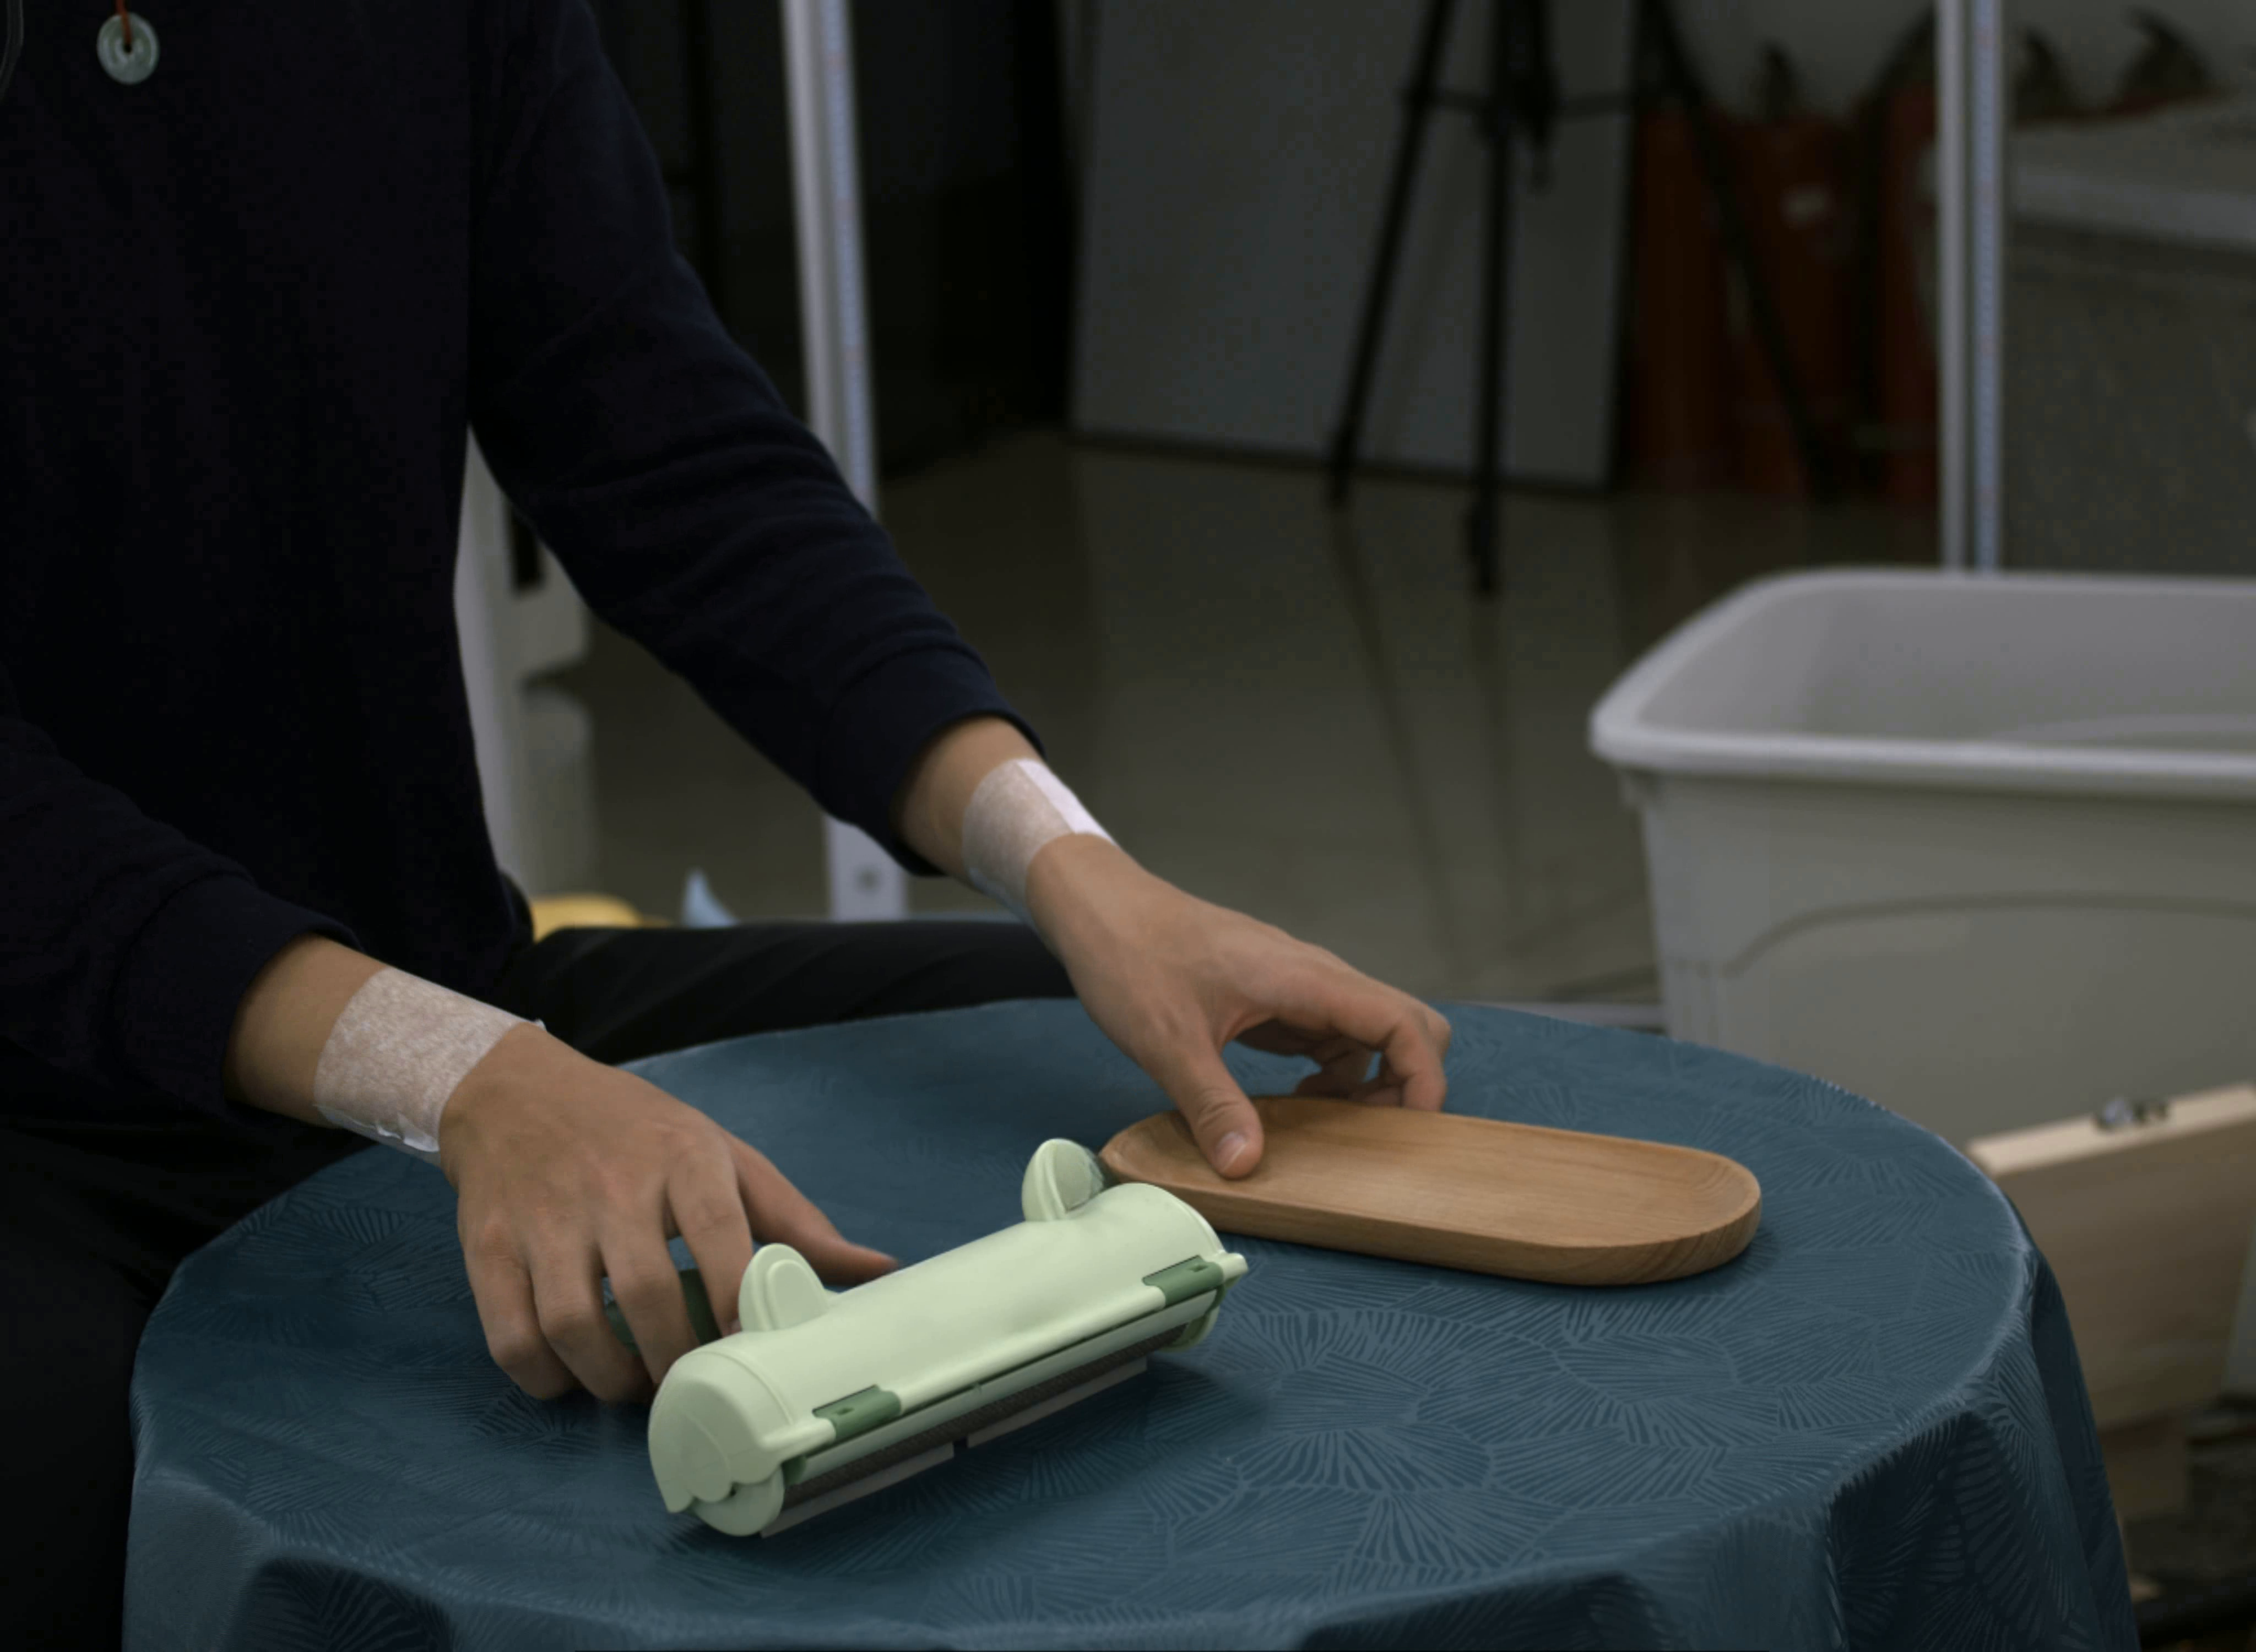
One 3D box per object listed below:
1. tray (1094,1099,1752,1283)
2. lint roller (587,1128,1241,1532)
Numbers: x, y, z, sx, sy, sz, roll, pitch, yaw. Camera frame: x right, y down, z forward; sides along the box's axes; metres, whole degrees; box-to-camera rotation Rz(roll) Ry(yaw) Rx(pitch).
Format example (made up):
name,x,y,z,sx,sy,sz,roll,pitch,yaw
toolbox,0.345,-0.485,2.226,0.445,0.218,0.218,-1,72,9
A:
name,x,y,z,sx,sy,sz,roll,pitch,yaw
tray,0.093,0.116,1.727,0.232,0.020,0.100,4,16,35
lint roller,-0.093,0.131,1.576,0.185,0.083,0.194,16,22,40
